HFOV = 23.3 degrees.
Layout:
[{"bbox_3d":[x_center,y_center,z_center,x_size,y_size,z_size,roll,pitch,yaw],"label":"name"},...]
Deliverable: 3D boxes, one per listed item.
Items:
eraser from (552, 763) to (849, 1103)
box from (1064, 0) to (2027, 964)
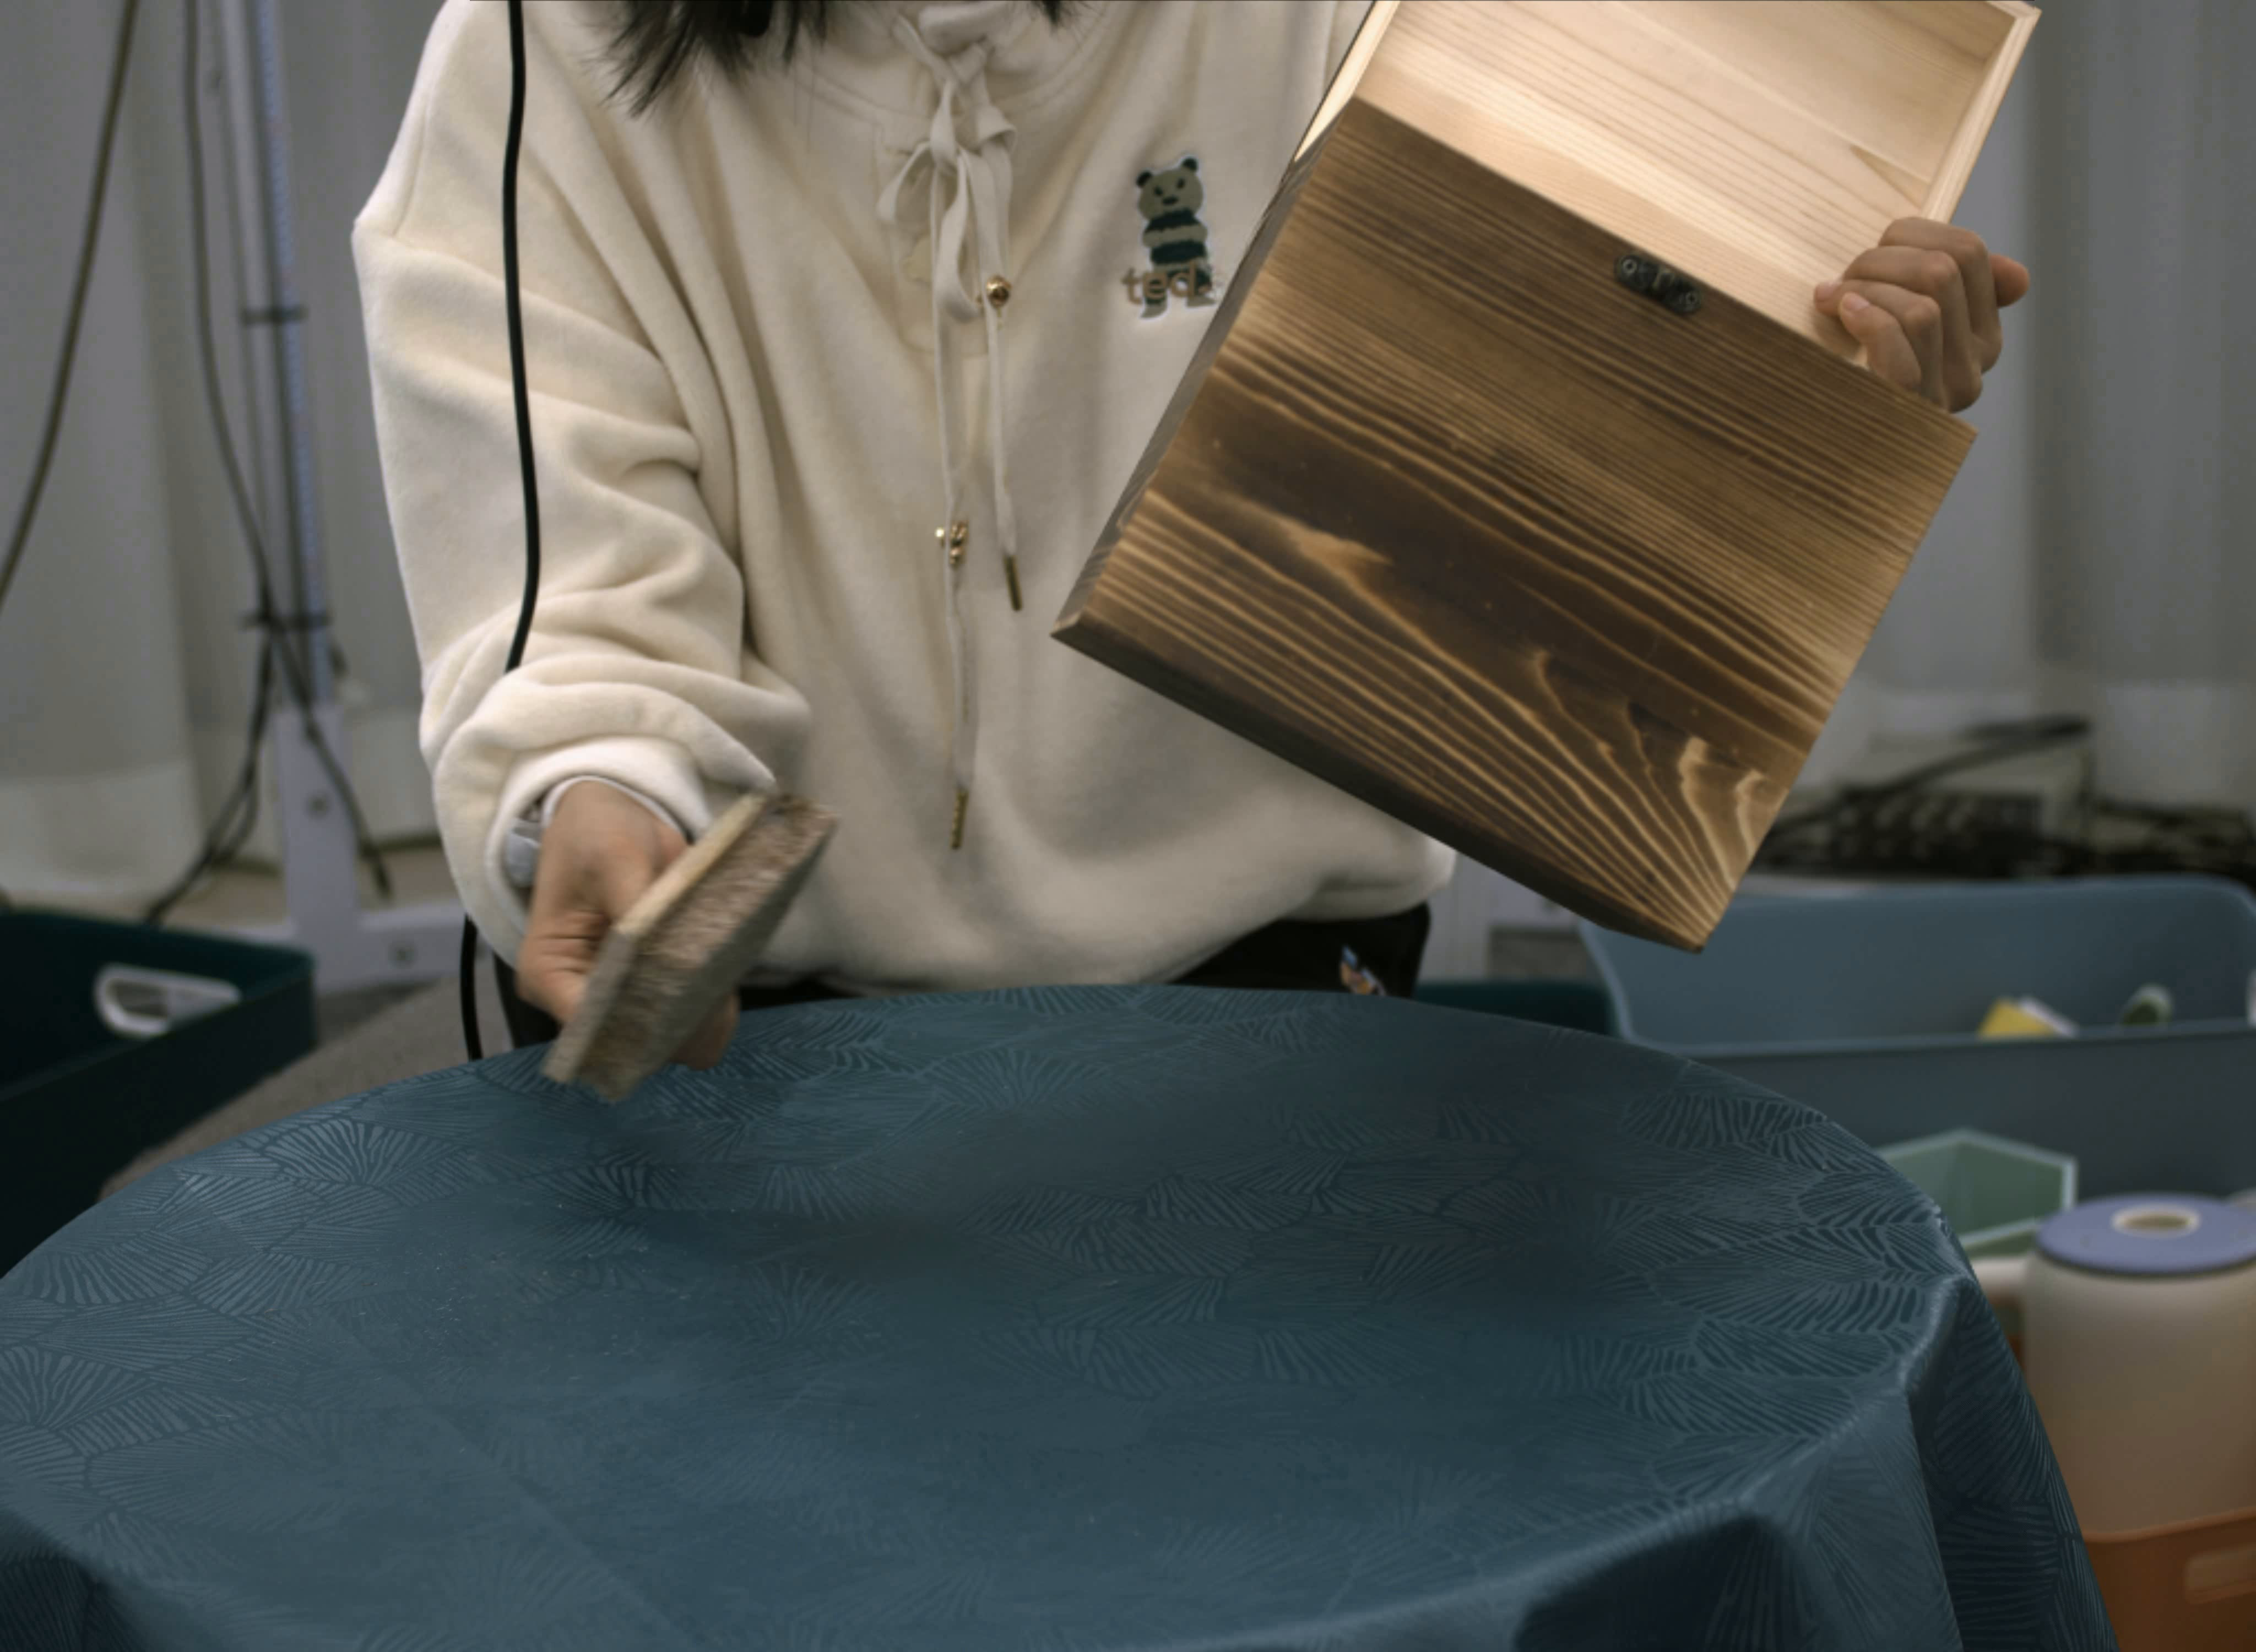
[{"bbox_3d":[-0.128,0.033,1.667,0.029,0.057,0.140,31,27,5],"label":"eraser"},{"bbox_3d":[0.147,-0.175,1.687,0.208,0.376,0.322,26,0,-3],"label":"box"}]
